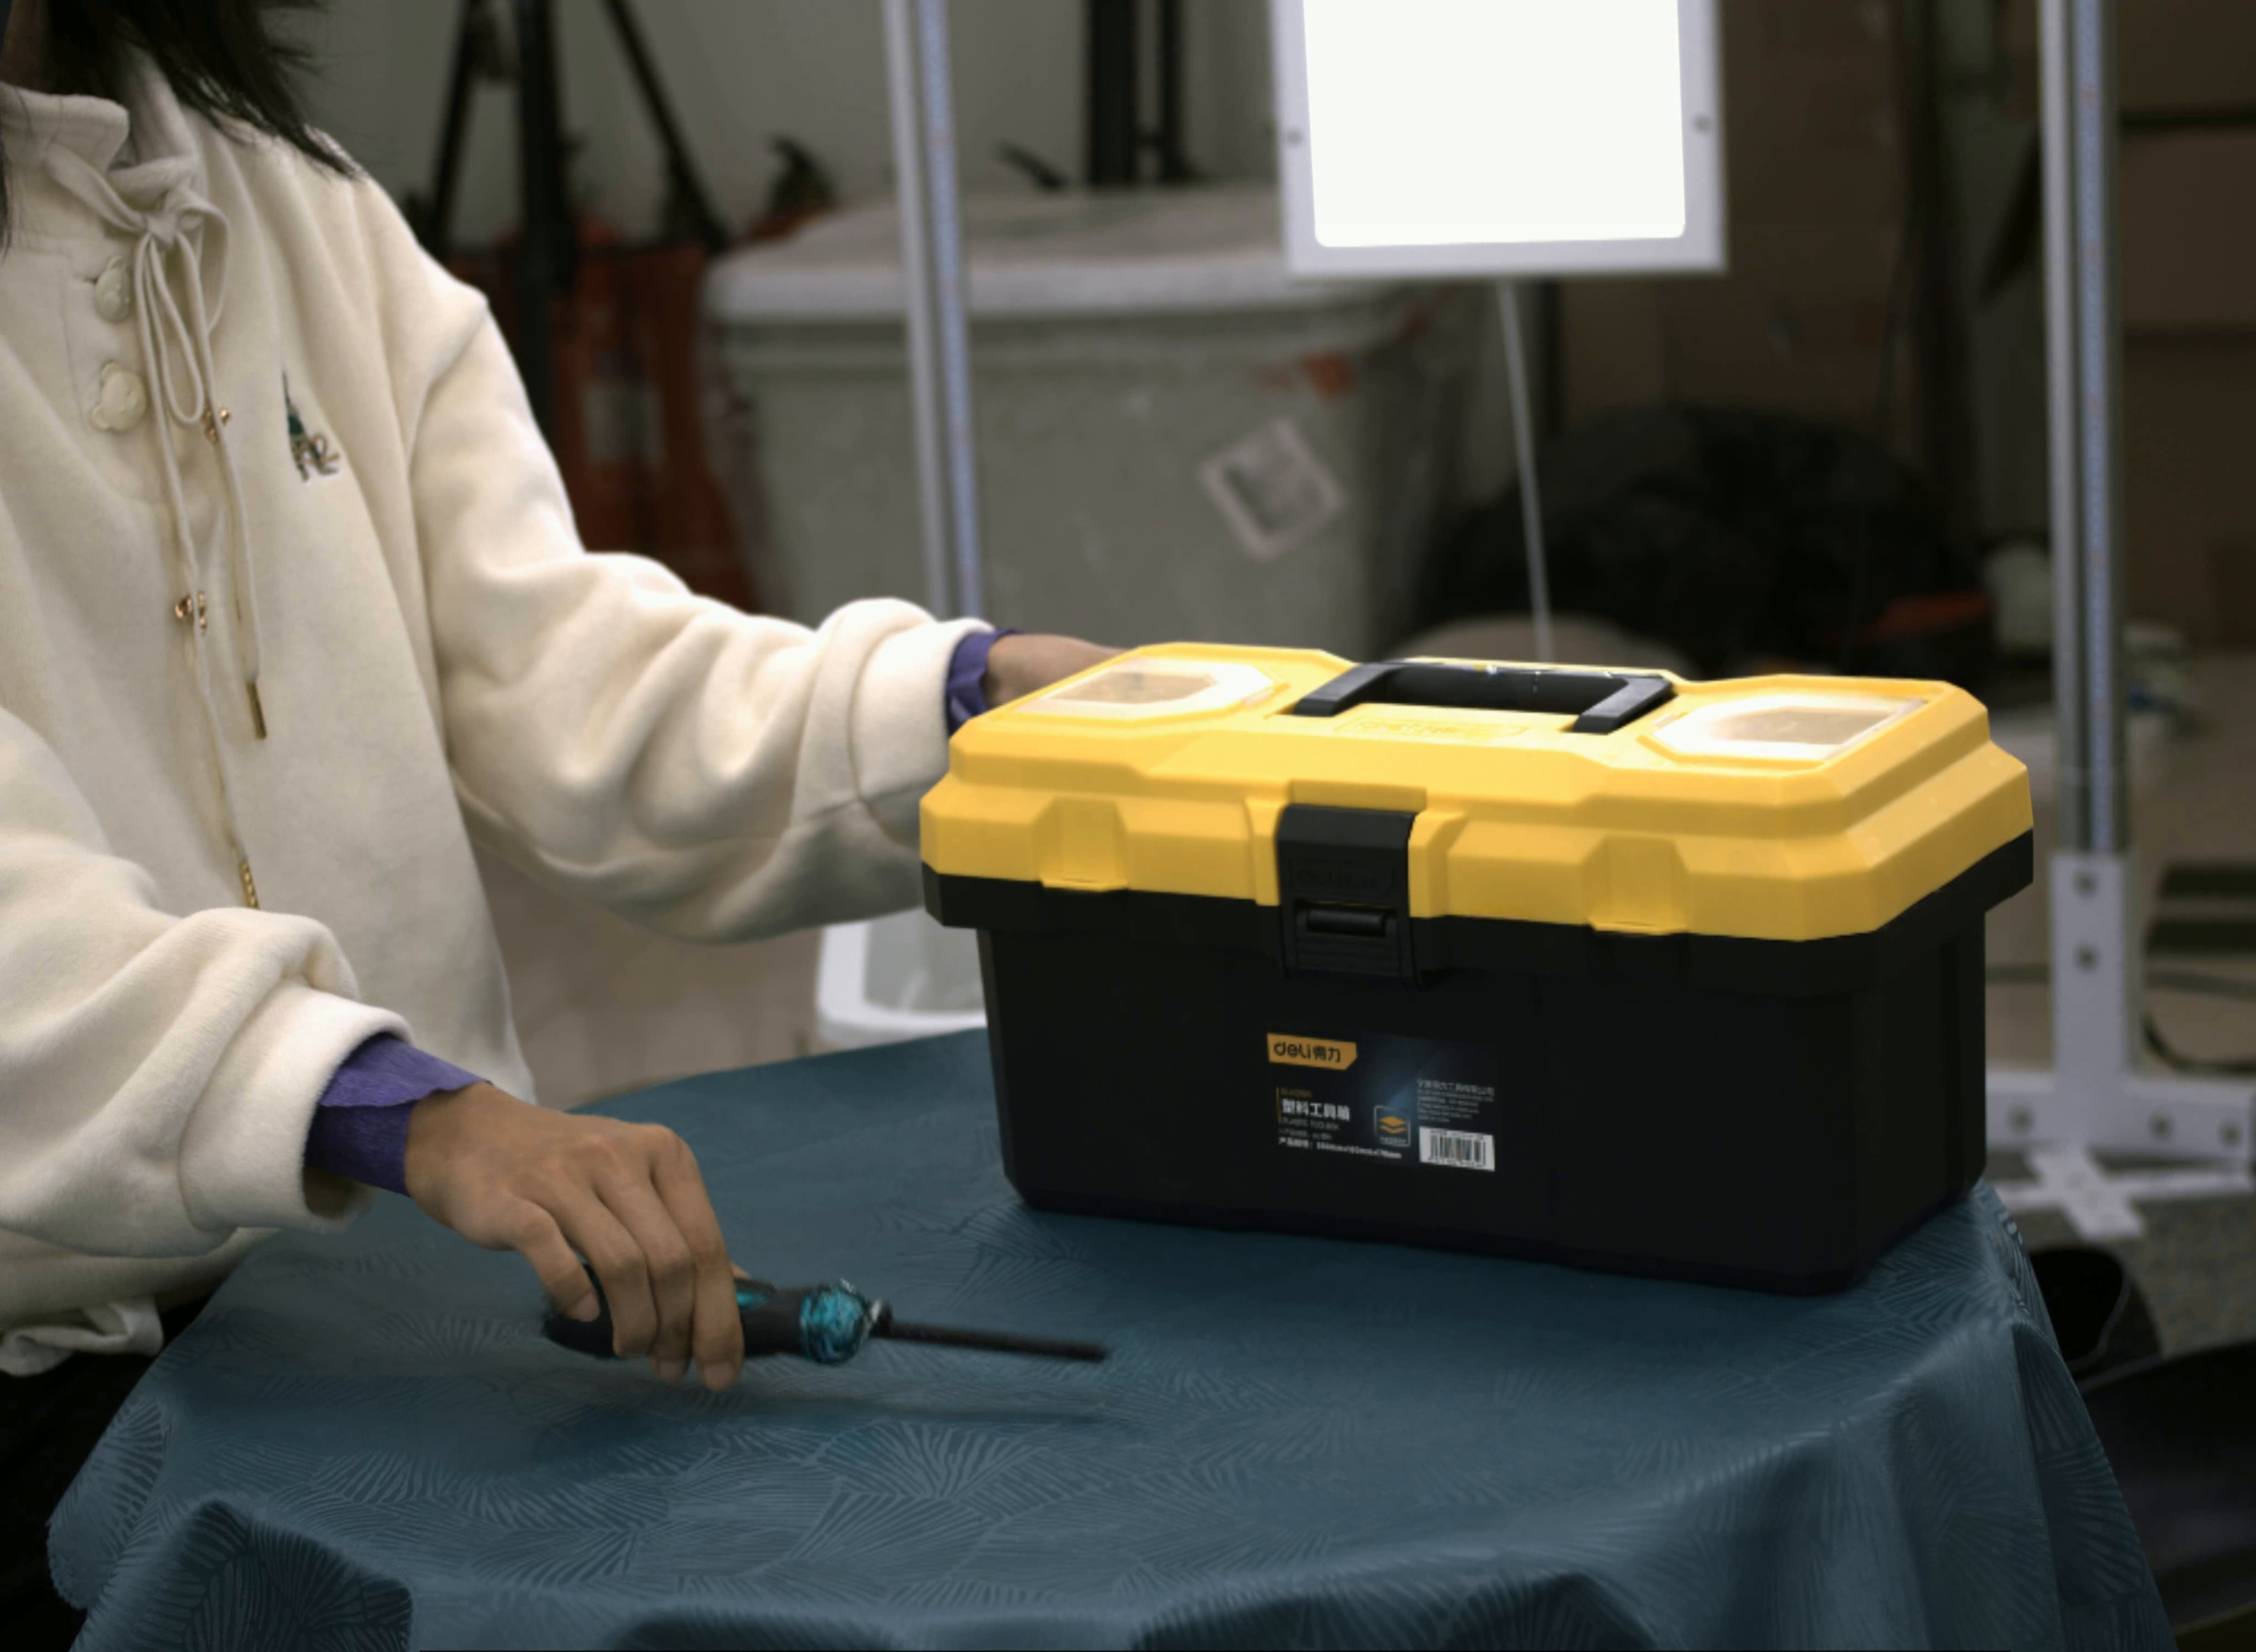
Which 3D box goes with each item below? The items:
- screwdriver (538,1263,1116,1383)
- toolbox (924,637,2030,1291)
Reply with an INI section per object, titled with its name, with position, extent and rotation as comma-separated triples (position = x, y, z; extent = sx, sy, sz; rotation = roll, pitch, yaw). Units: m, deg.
[screwdriver]
position = -0.094, 0.160, 1.714
extent = 0.192, 0.034, 0.033
rotation = 6, 16, 19
[toolbox]
position = 0.116, 0.041, 1.837
extent = 0.358, 0.173, 0.177
rotation = 4, 16, 33
